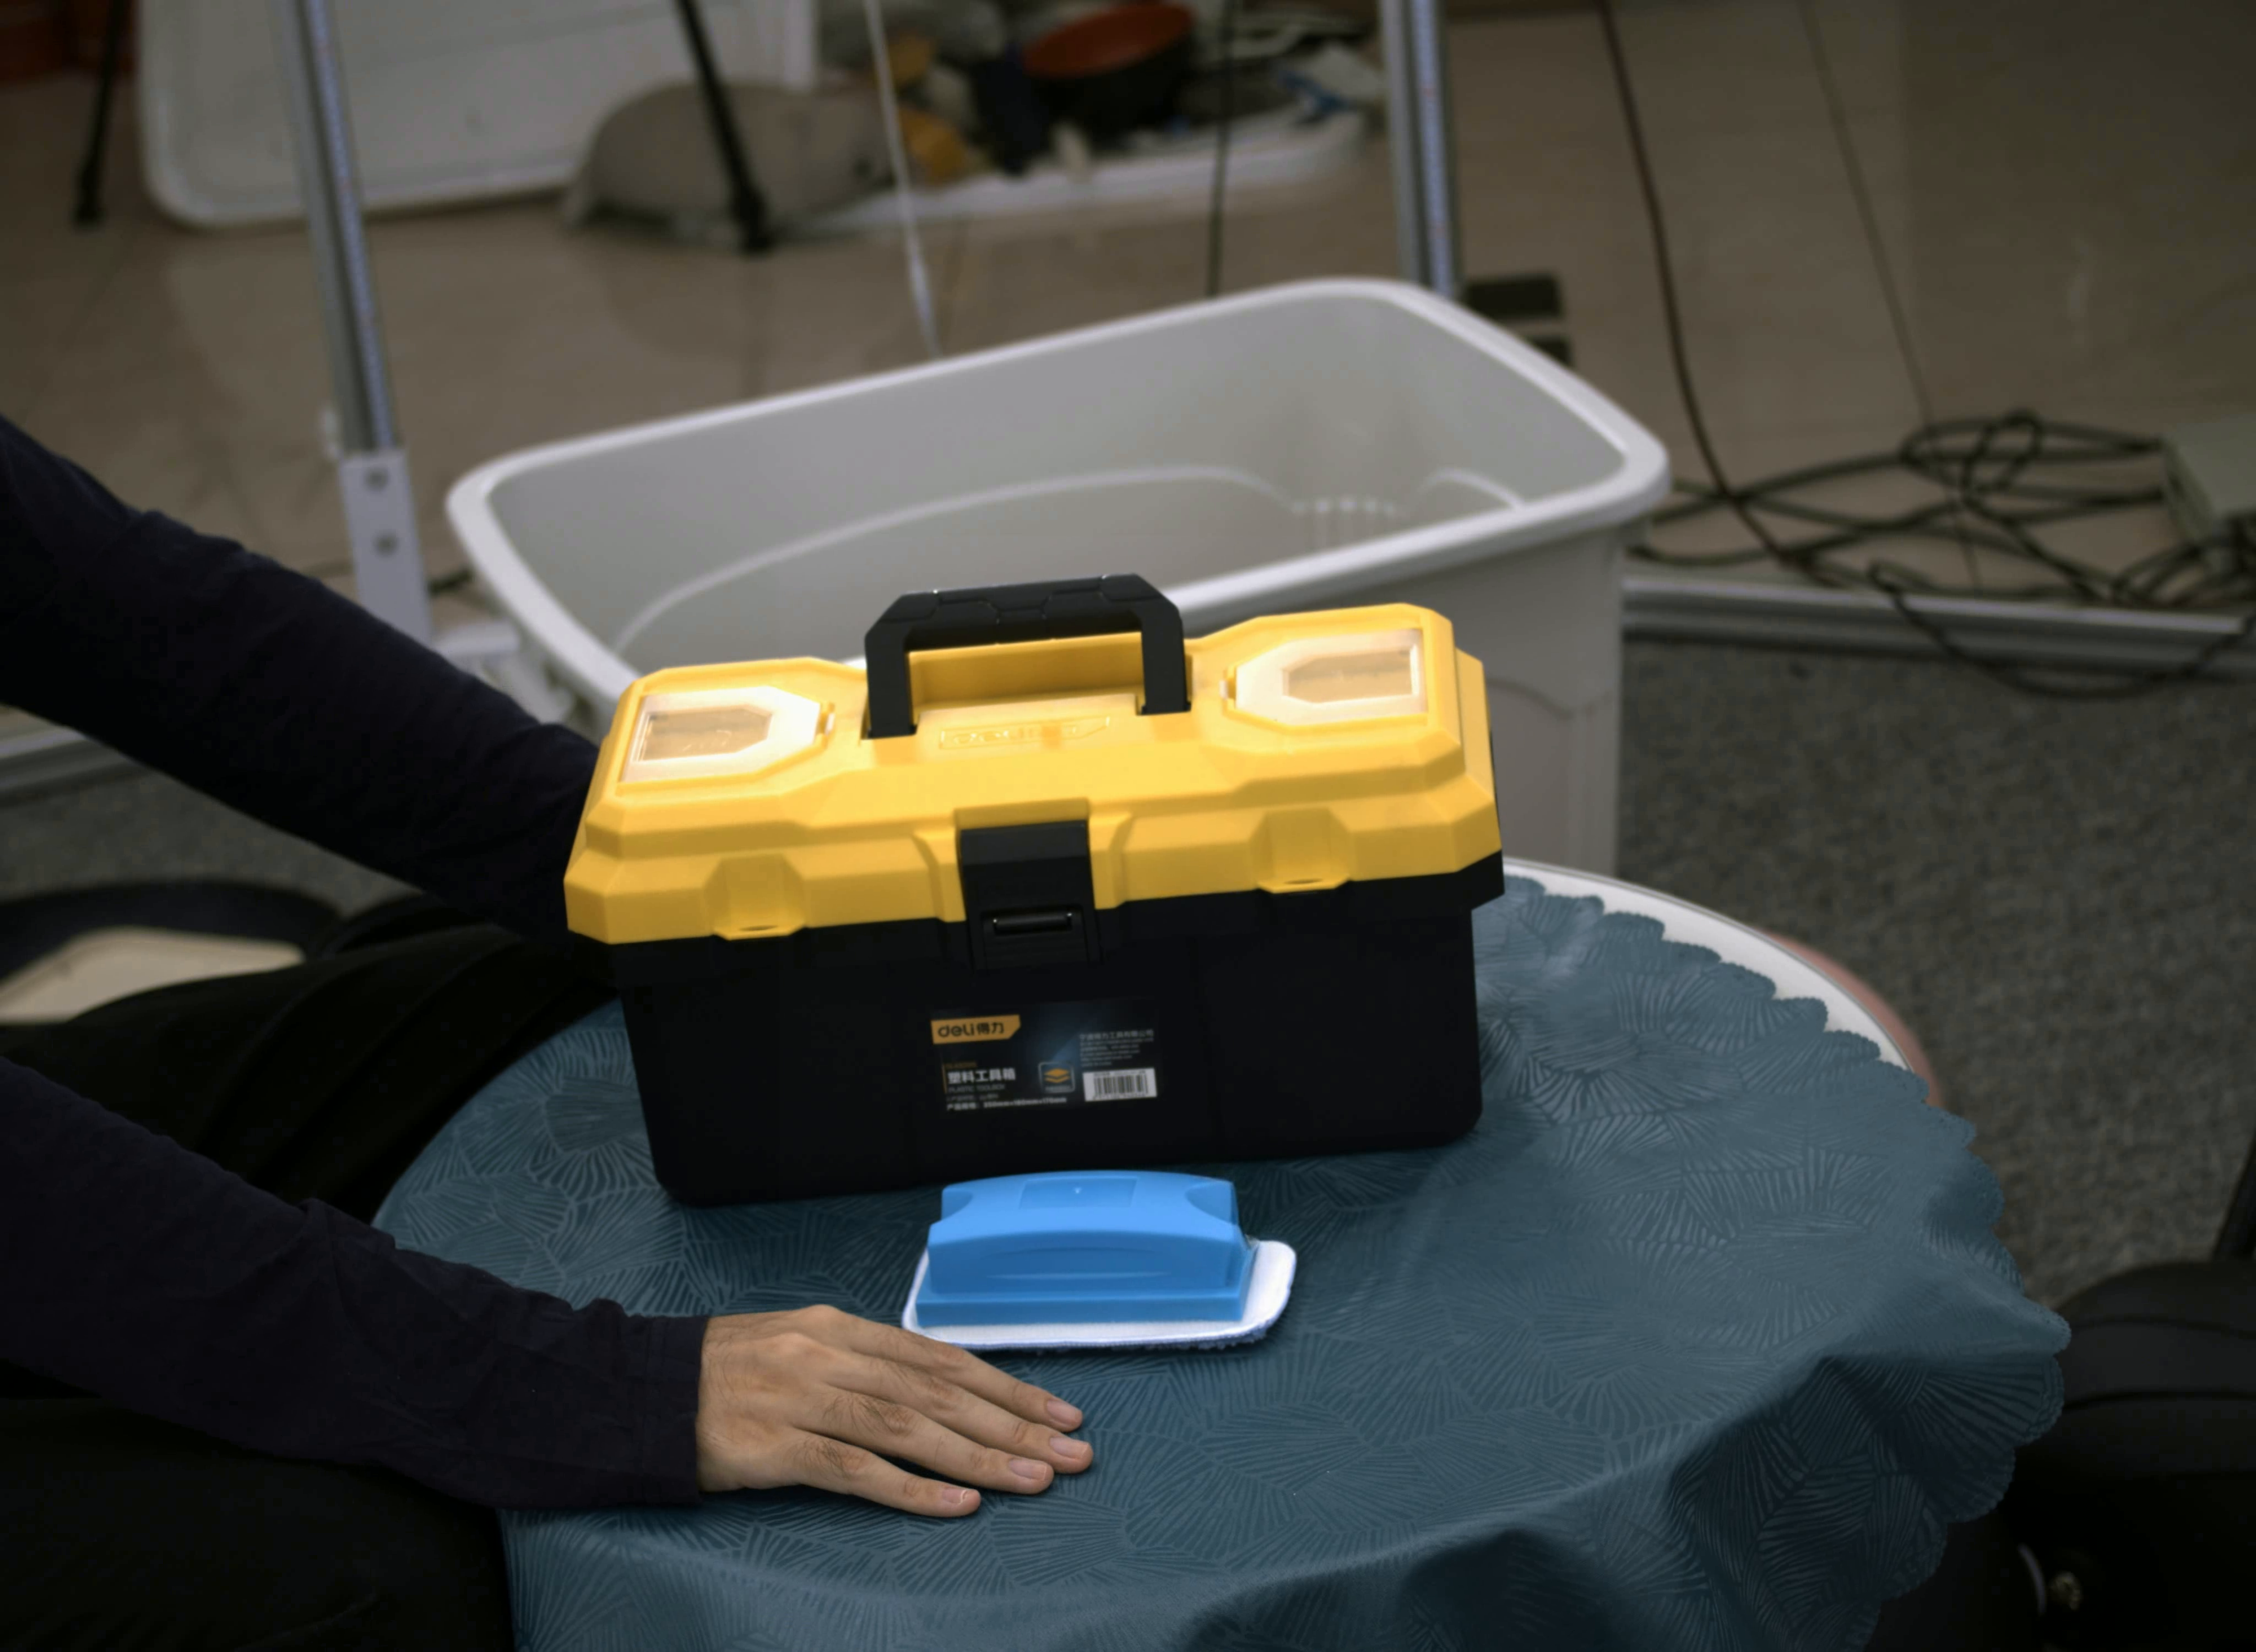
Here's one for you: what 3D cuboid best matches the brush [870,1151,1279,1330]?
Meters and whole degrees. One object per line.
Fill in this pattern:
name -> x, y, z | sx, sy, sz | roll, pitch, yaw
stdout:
brush -> -0.020, 0.149, 2.058 | 0.143, 0.057, 0.083 | 1, 23, 12

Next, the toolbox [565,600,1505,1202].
toolbox -> -0.030, 0.031, 2.178 | 0.351, 0.175, 0.178 | -5, 25, 4
